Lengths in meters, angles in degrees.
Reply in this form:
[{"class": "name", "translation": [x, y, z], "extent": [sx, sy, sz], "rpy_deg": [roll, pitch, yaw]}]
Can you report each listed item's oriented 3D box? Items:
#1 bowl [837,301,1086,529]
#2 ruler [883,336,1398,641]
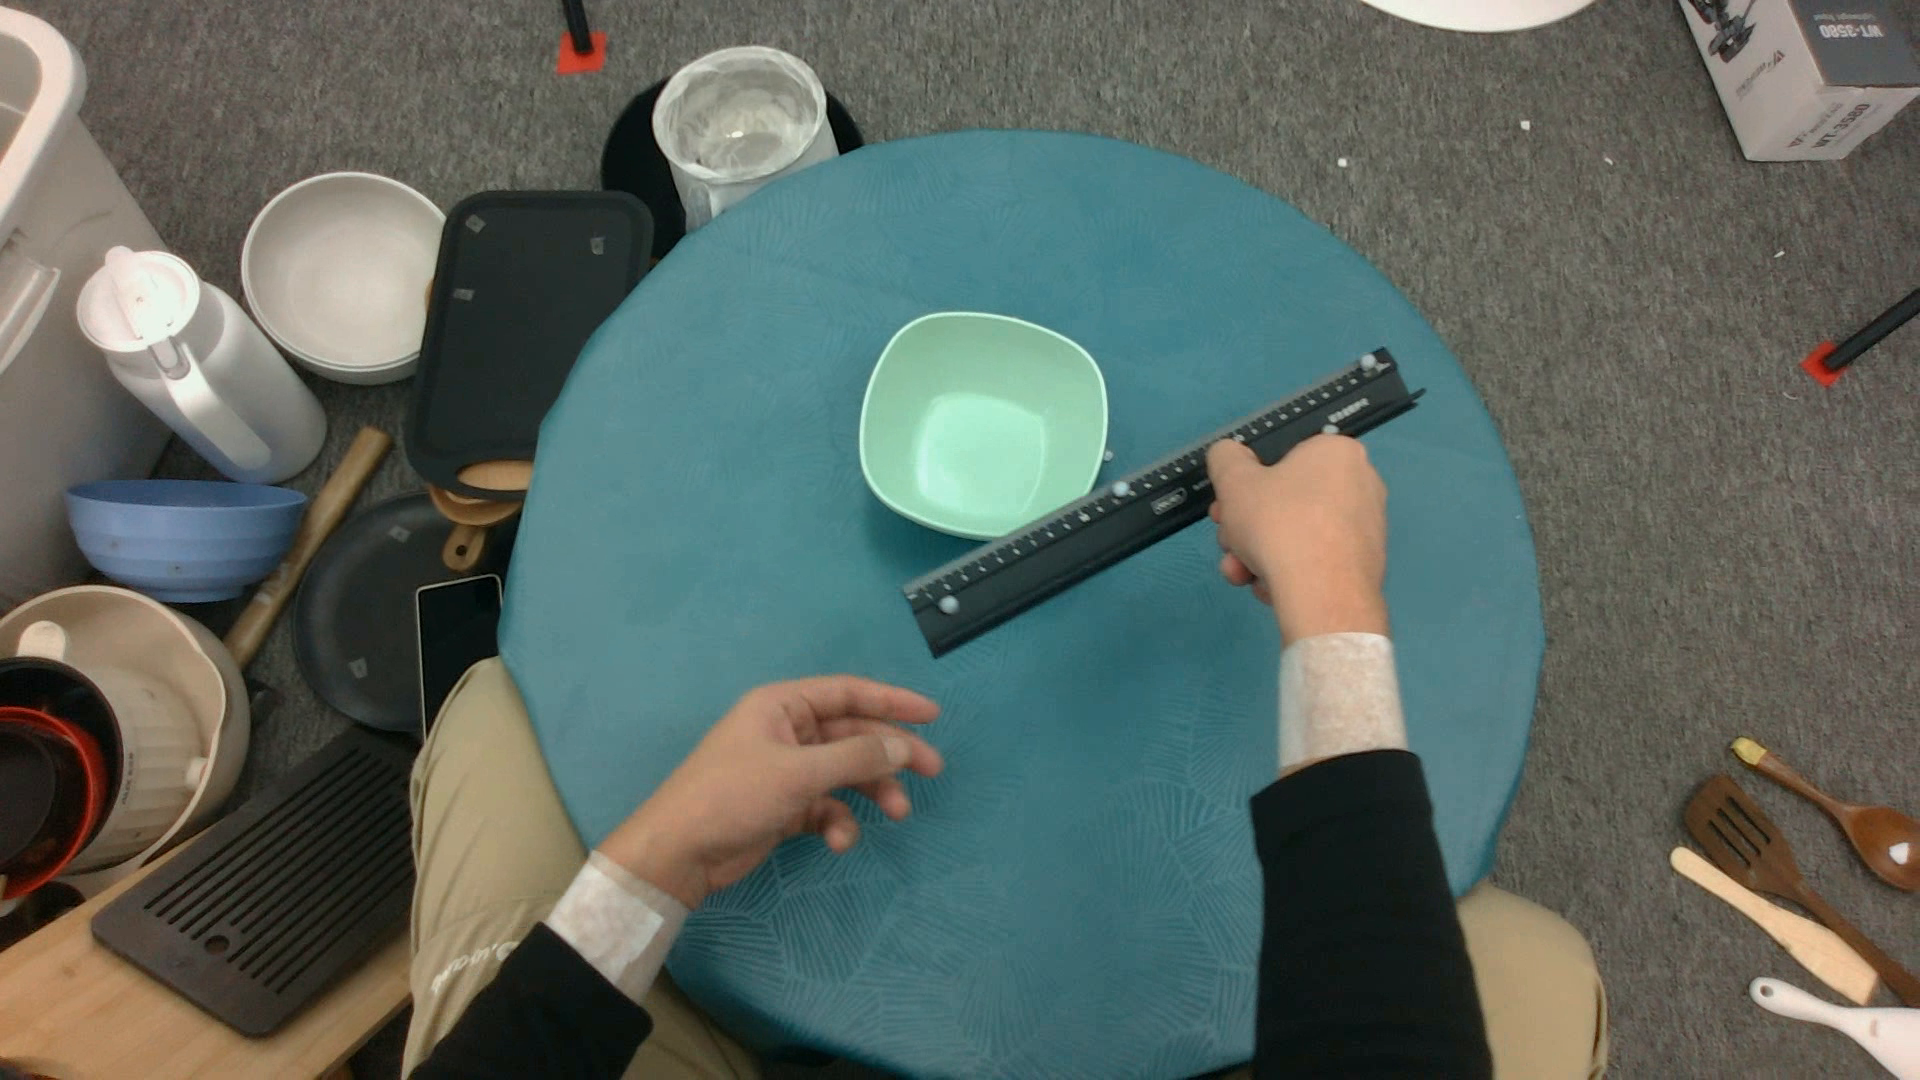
[{"class": "bowl", "translation": [0.000, -0.063, 0.798], "extent": [0.151, 0.058, 0.152], "rpy_deg": [2, 67, -5]}, {"class": "ruler", "translation": [0.102, -0.035, 0.694], "extent": [0.313, 0.017, 0.039], "rpy_deg": [-27, 88, -23]}]
